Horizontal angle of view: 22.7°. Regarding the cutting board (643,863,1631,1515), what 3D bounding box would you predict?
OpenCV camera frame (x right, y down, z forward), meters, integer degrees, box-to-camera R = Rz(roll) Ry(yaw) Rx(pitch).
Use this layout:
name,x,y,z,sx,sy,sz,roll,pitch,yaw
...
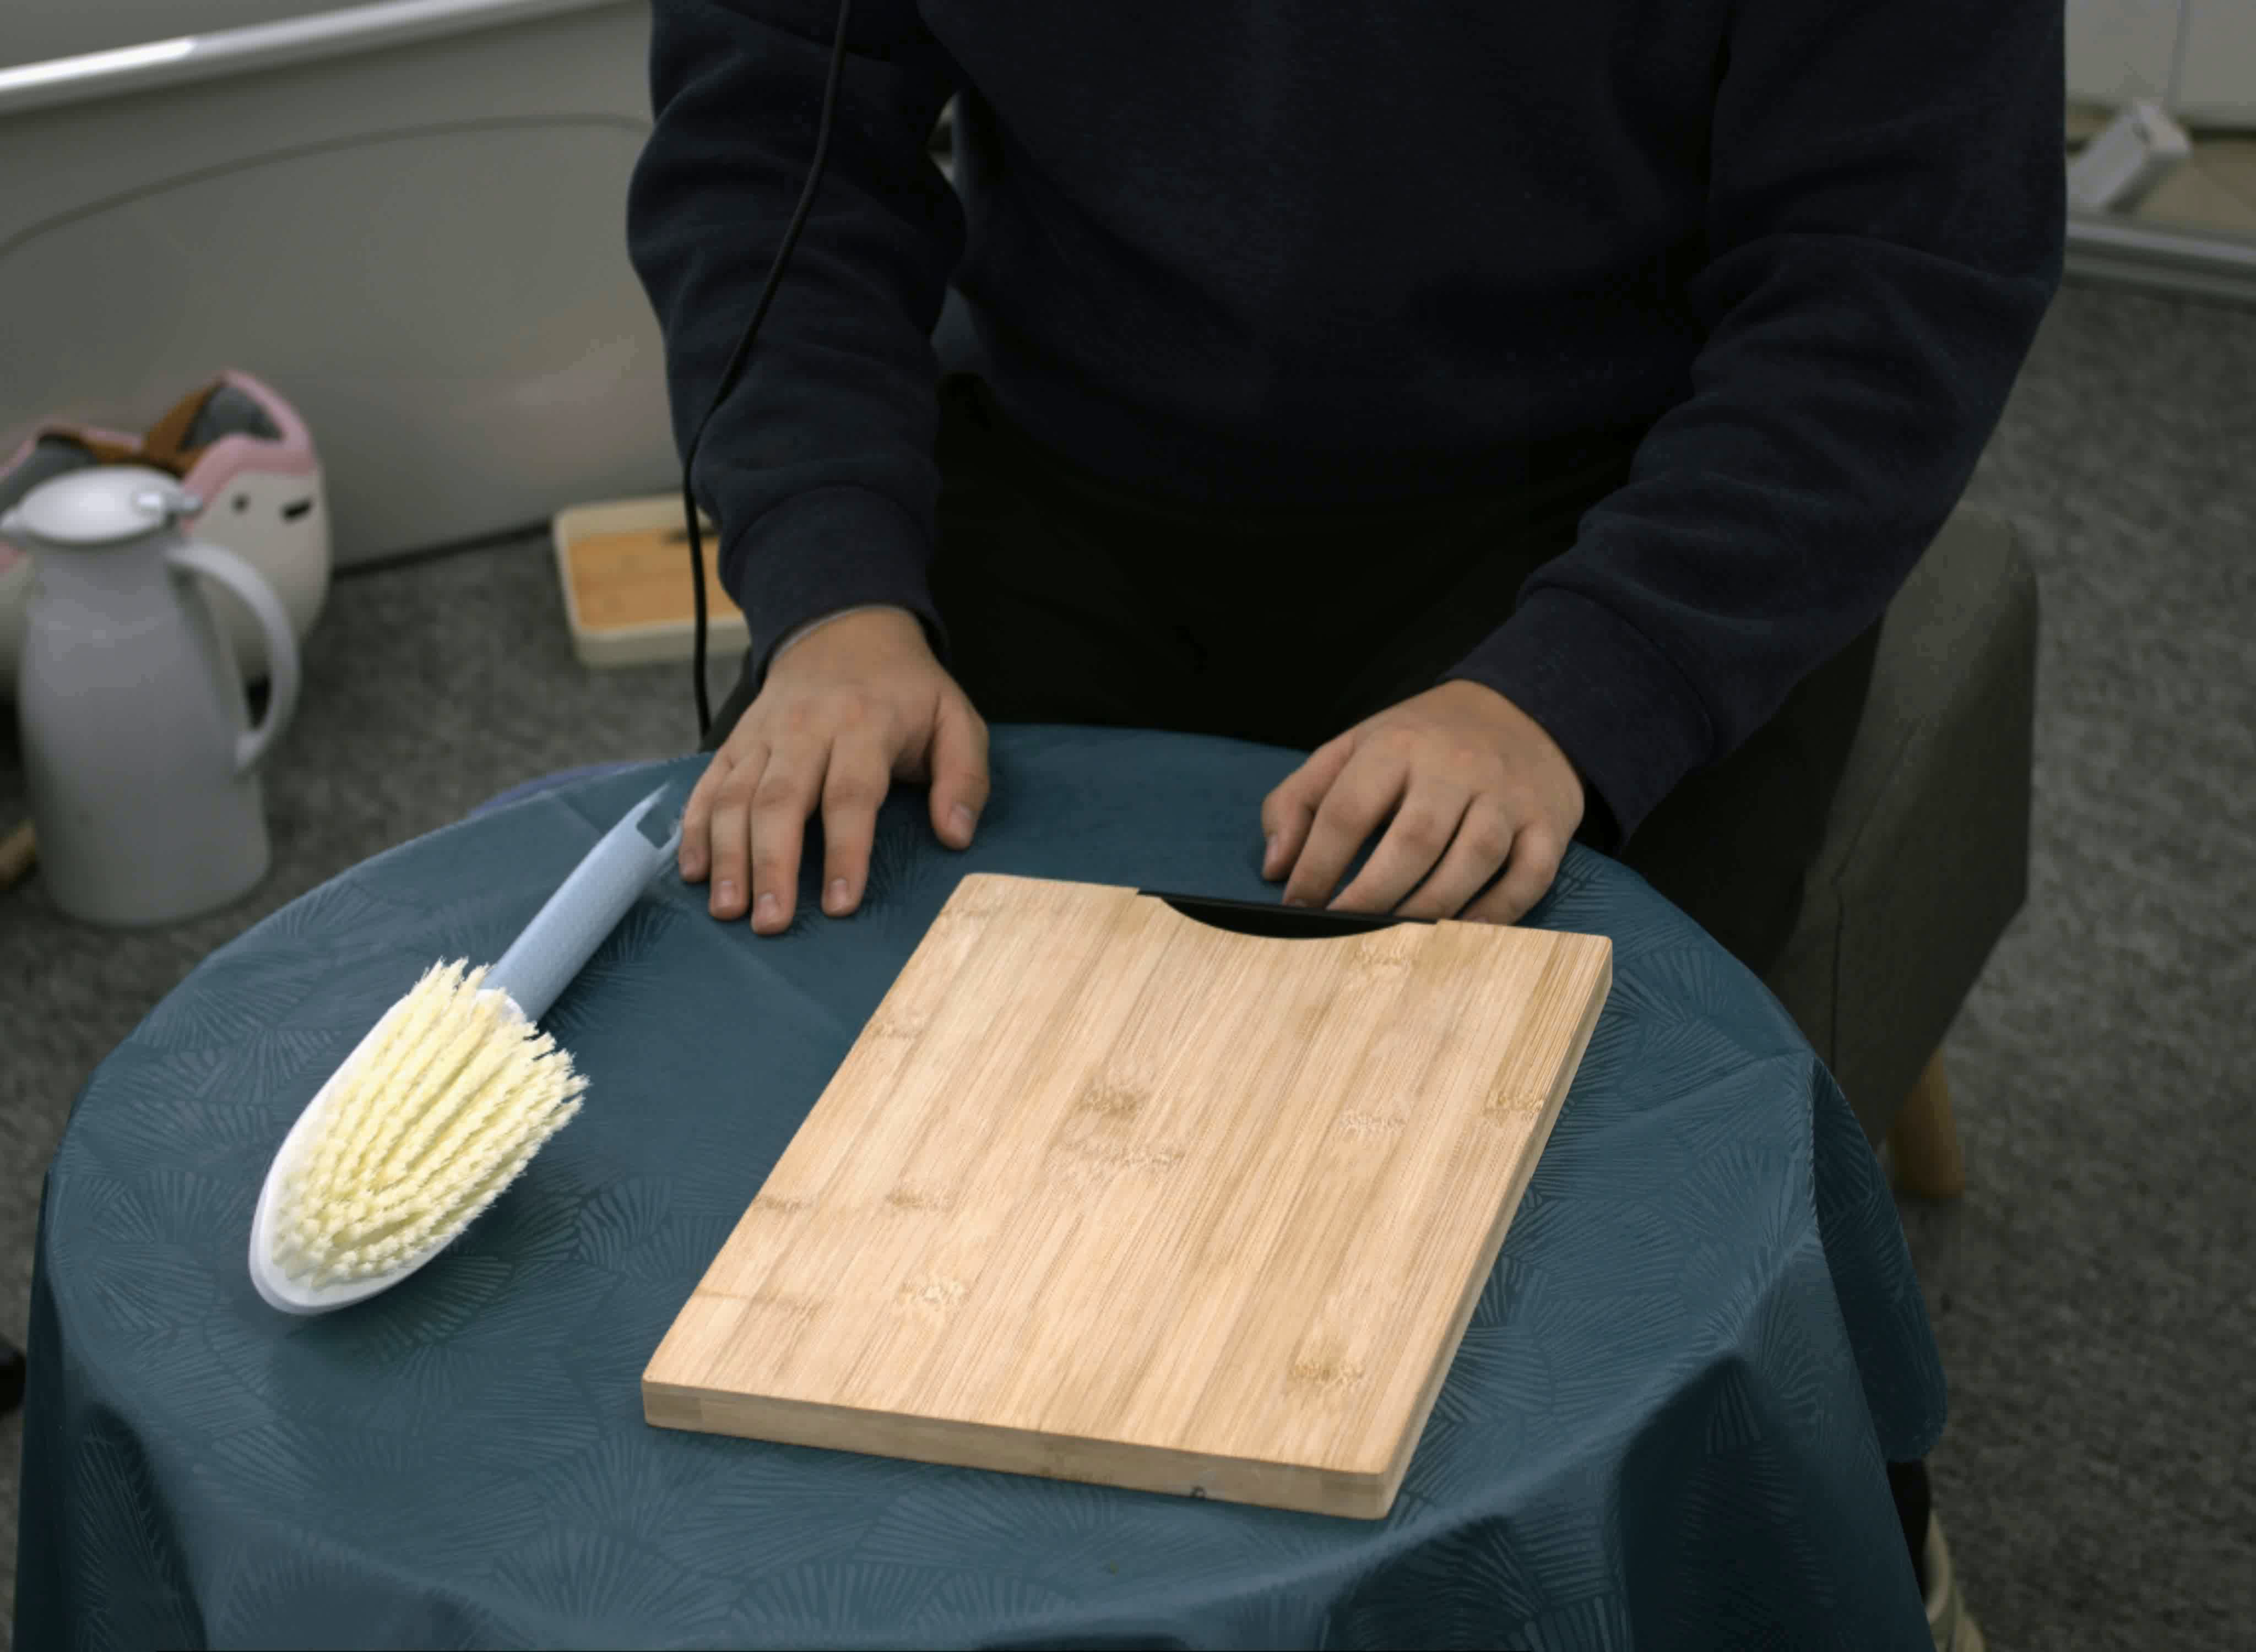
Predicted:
name,x,y,z,sx,sy,sz,roll,pitch,yaw
cutting board,0.012,0.111,1.866,0.249,0.023,0.354,6,28,14

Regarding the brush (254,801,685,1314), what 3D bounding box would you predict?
name,x,y,z,sx,sy,sz,roll,pitch,yaw
brush,-0.206,0.055,1.922,0.084,0.082,0.331,-2,27,22
